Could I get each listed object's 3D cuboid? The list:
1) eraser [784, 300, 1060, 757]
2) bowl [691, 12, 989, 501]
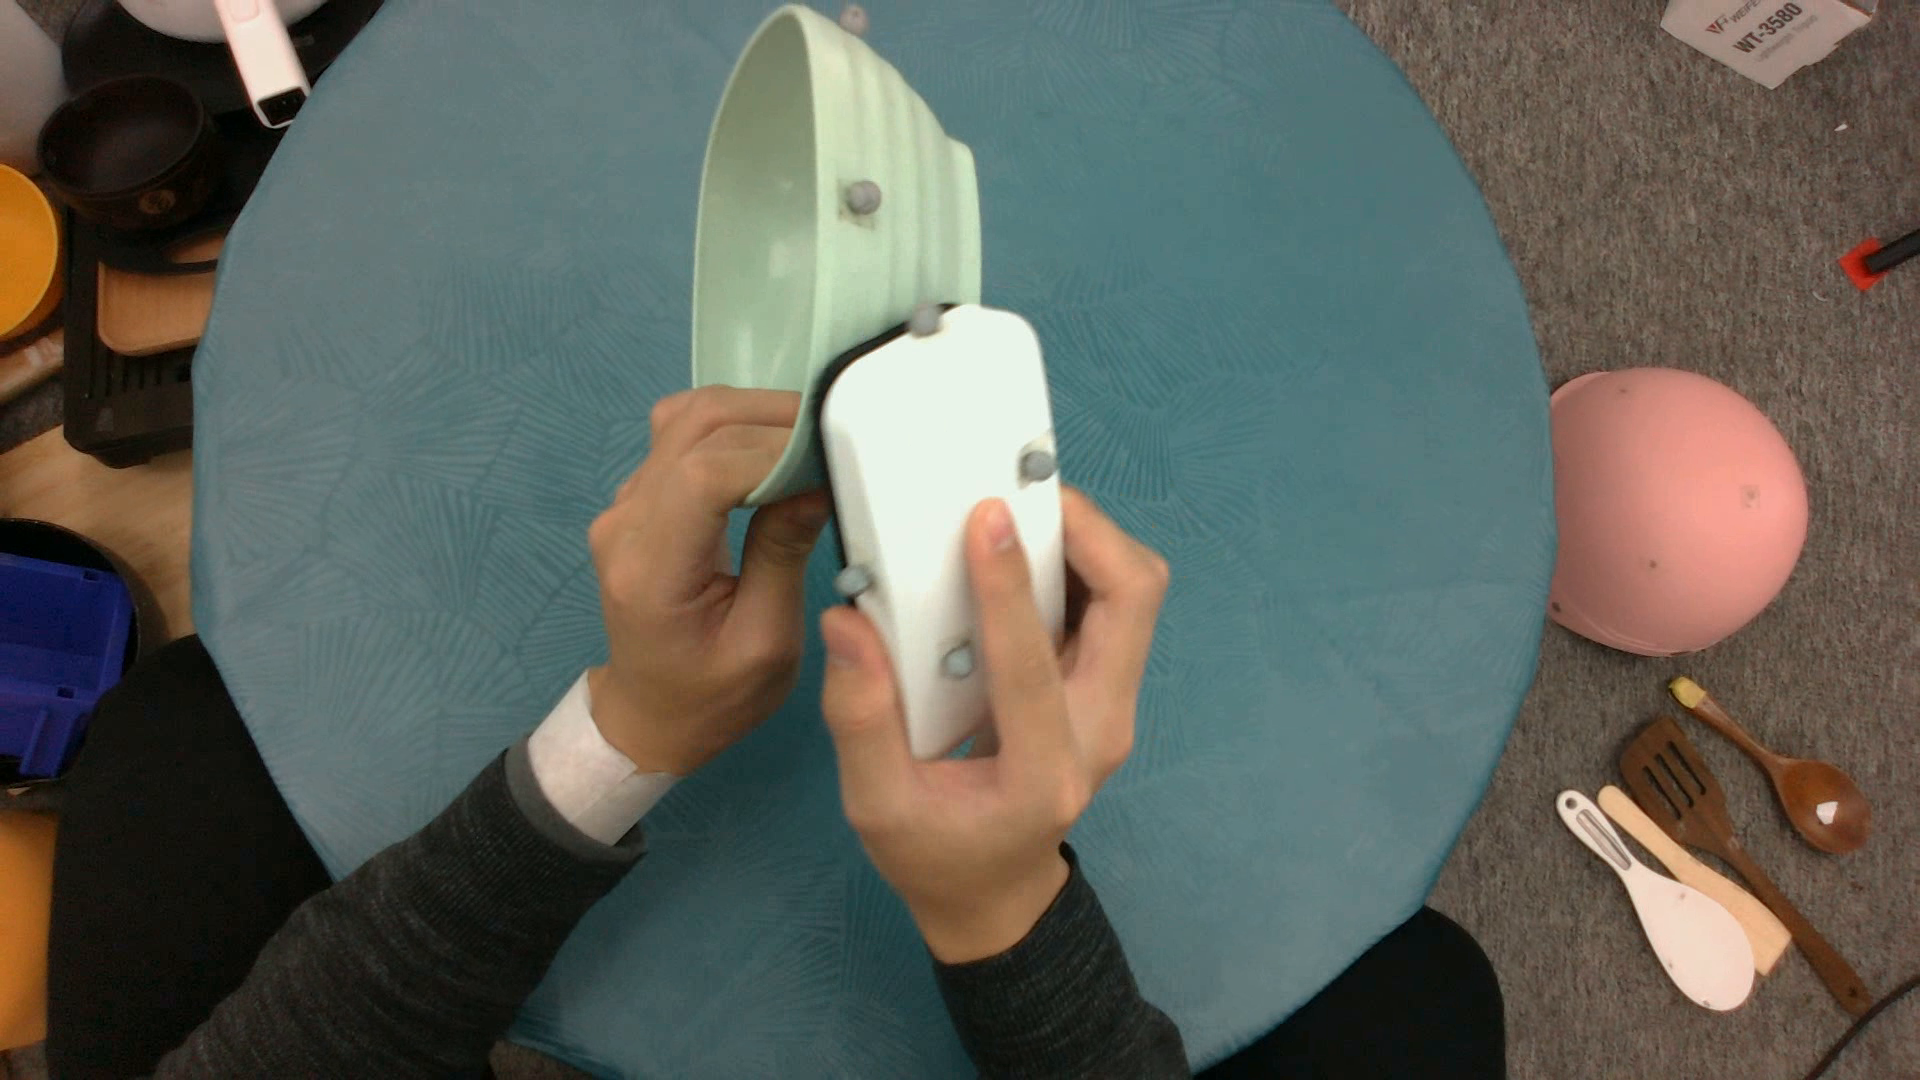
[{"bbox_3d":[-0.008,0.001,0.379,0.063,0.131,0.034,-31,41,-26],"label":"eraser"},{"bbox_3d":[-0.036,-0.079,0.421,0.059,0.151,0.151,6,78,-25],"label":"bowl"}]
